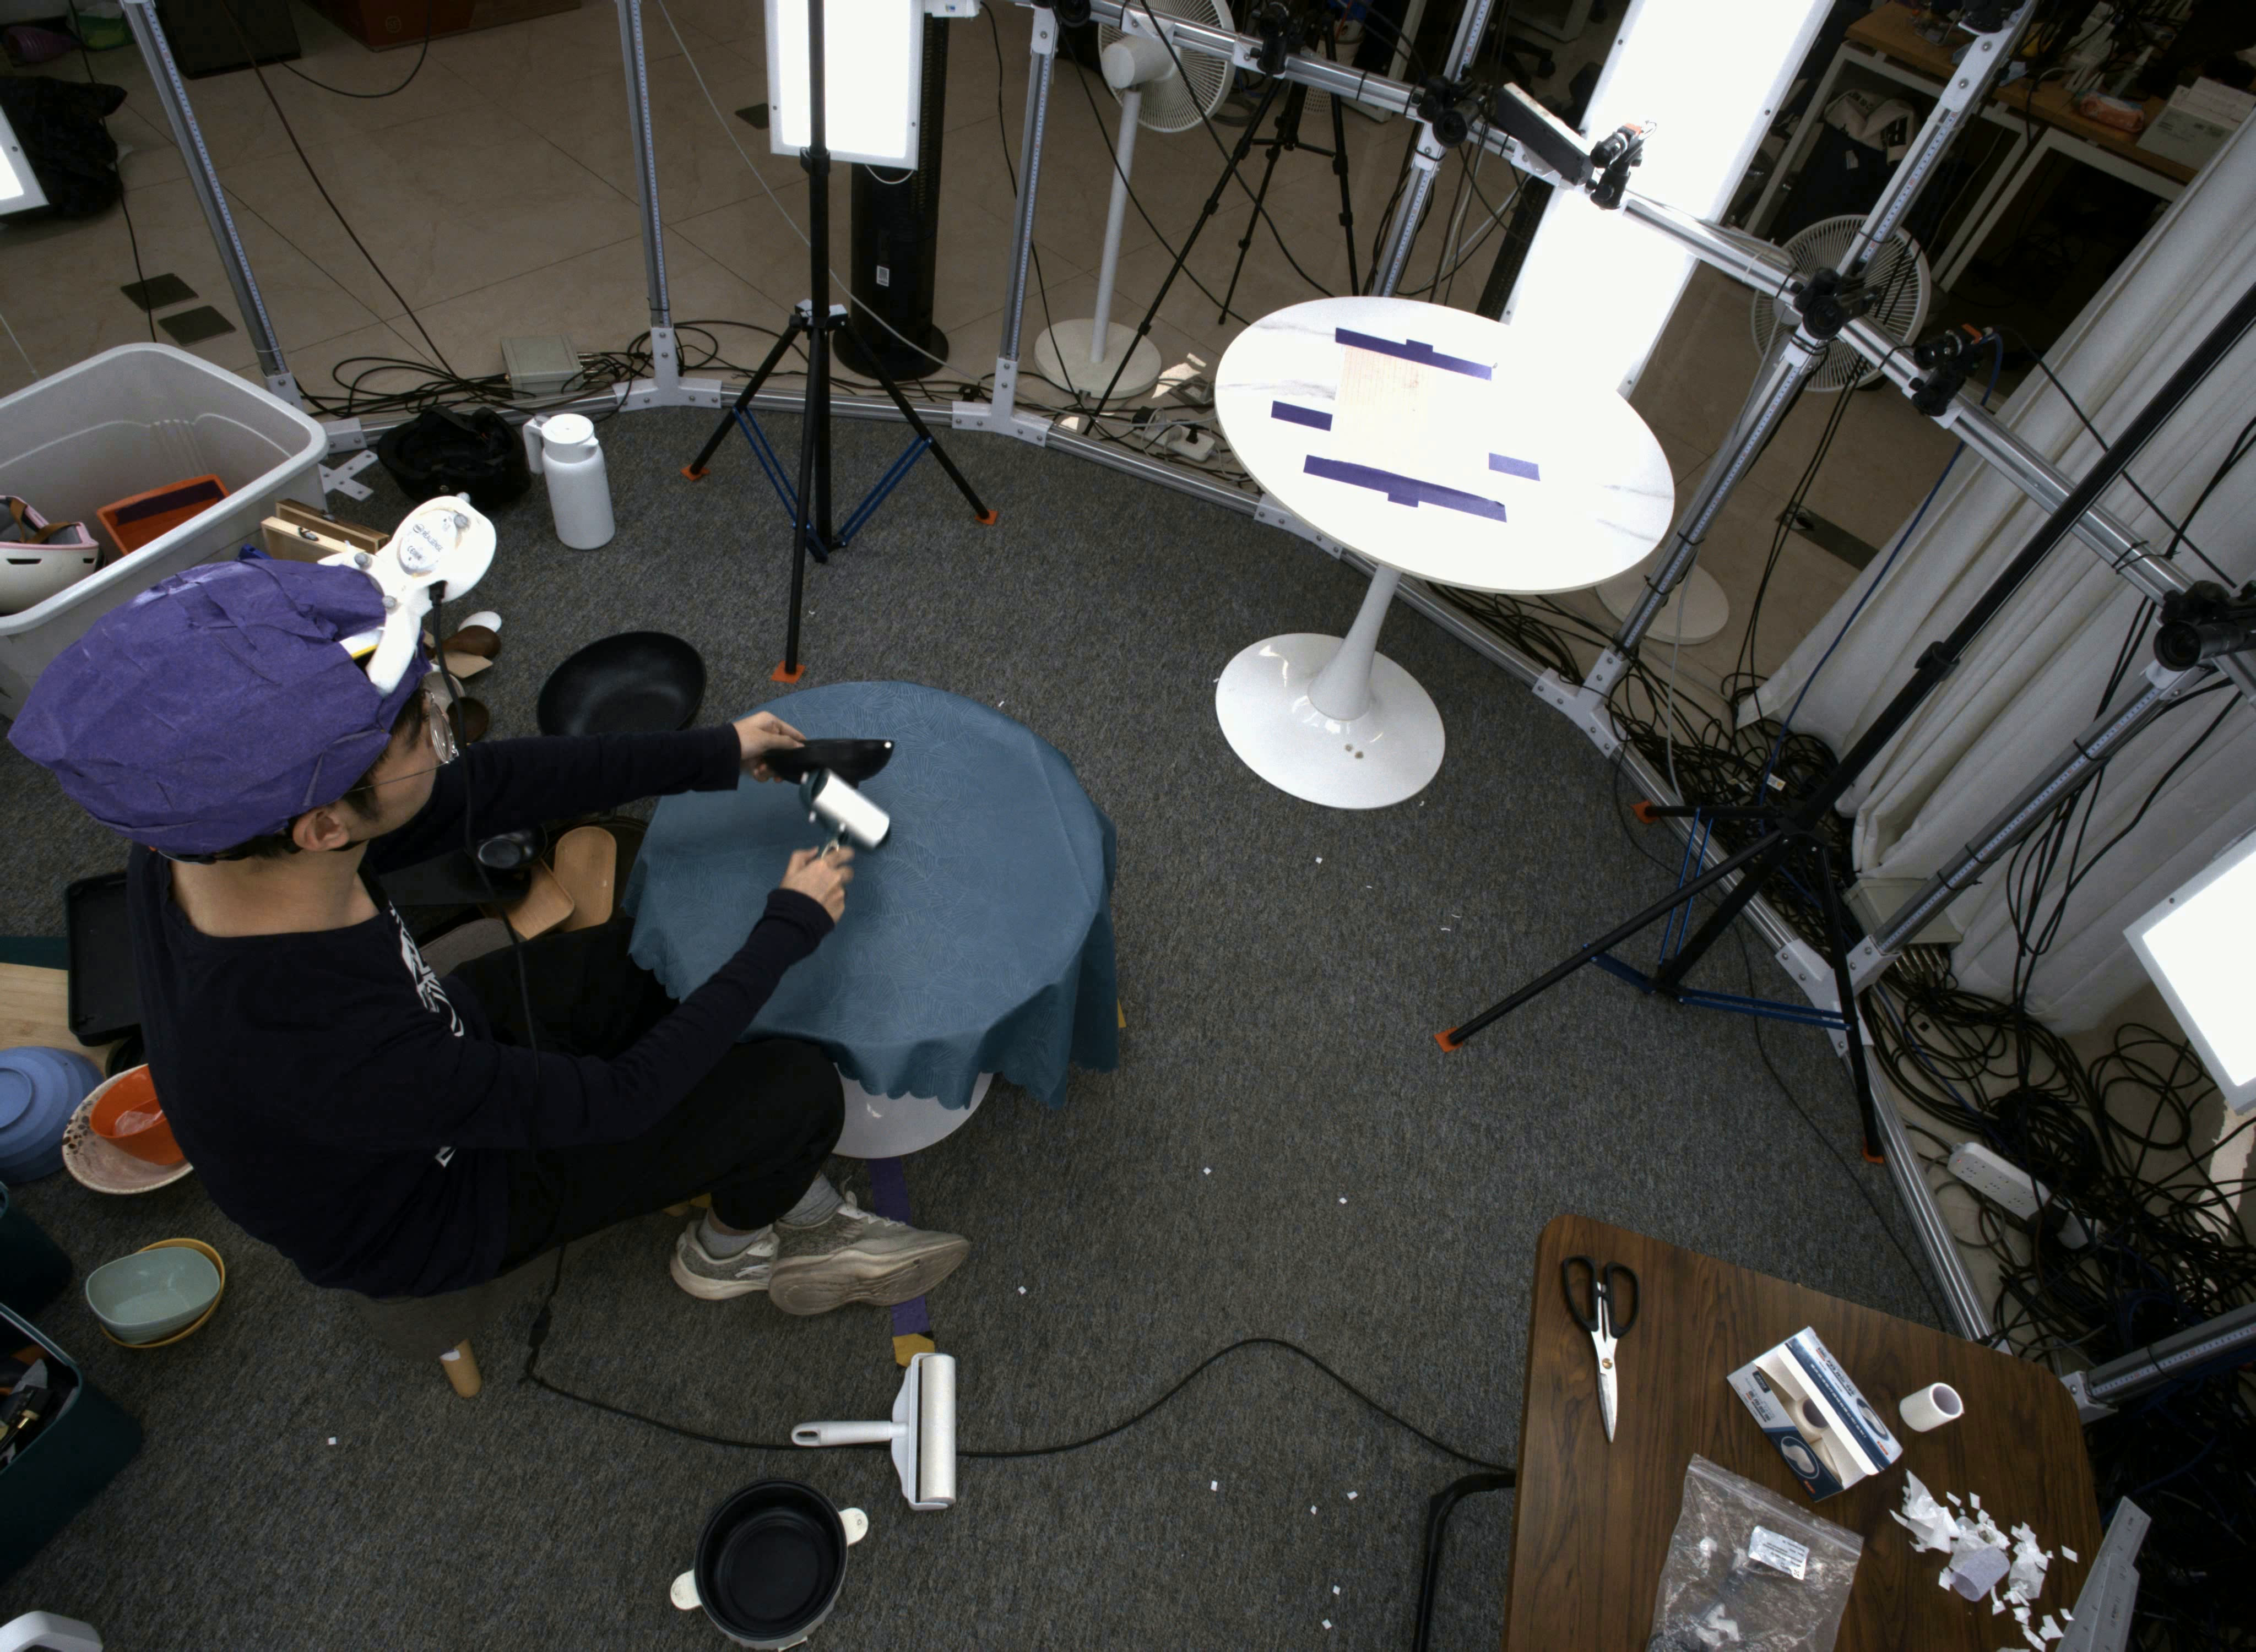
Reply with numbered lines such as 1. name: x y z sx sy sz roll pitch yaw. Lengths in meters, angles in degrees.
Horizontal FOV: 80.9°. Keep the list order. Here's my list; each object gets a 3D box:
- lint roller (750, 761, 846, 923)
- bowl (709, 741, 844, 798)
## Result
1. lint roller: -0.408 0.029 1.545 0.139 0.047 0.177 39 45 -40
2. bowl: -0.438 -0.071 1.626 0.172 0.133 0.068 -9 97 -34
